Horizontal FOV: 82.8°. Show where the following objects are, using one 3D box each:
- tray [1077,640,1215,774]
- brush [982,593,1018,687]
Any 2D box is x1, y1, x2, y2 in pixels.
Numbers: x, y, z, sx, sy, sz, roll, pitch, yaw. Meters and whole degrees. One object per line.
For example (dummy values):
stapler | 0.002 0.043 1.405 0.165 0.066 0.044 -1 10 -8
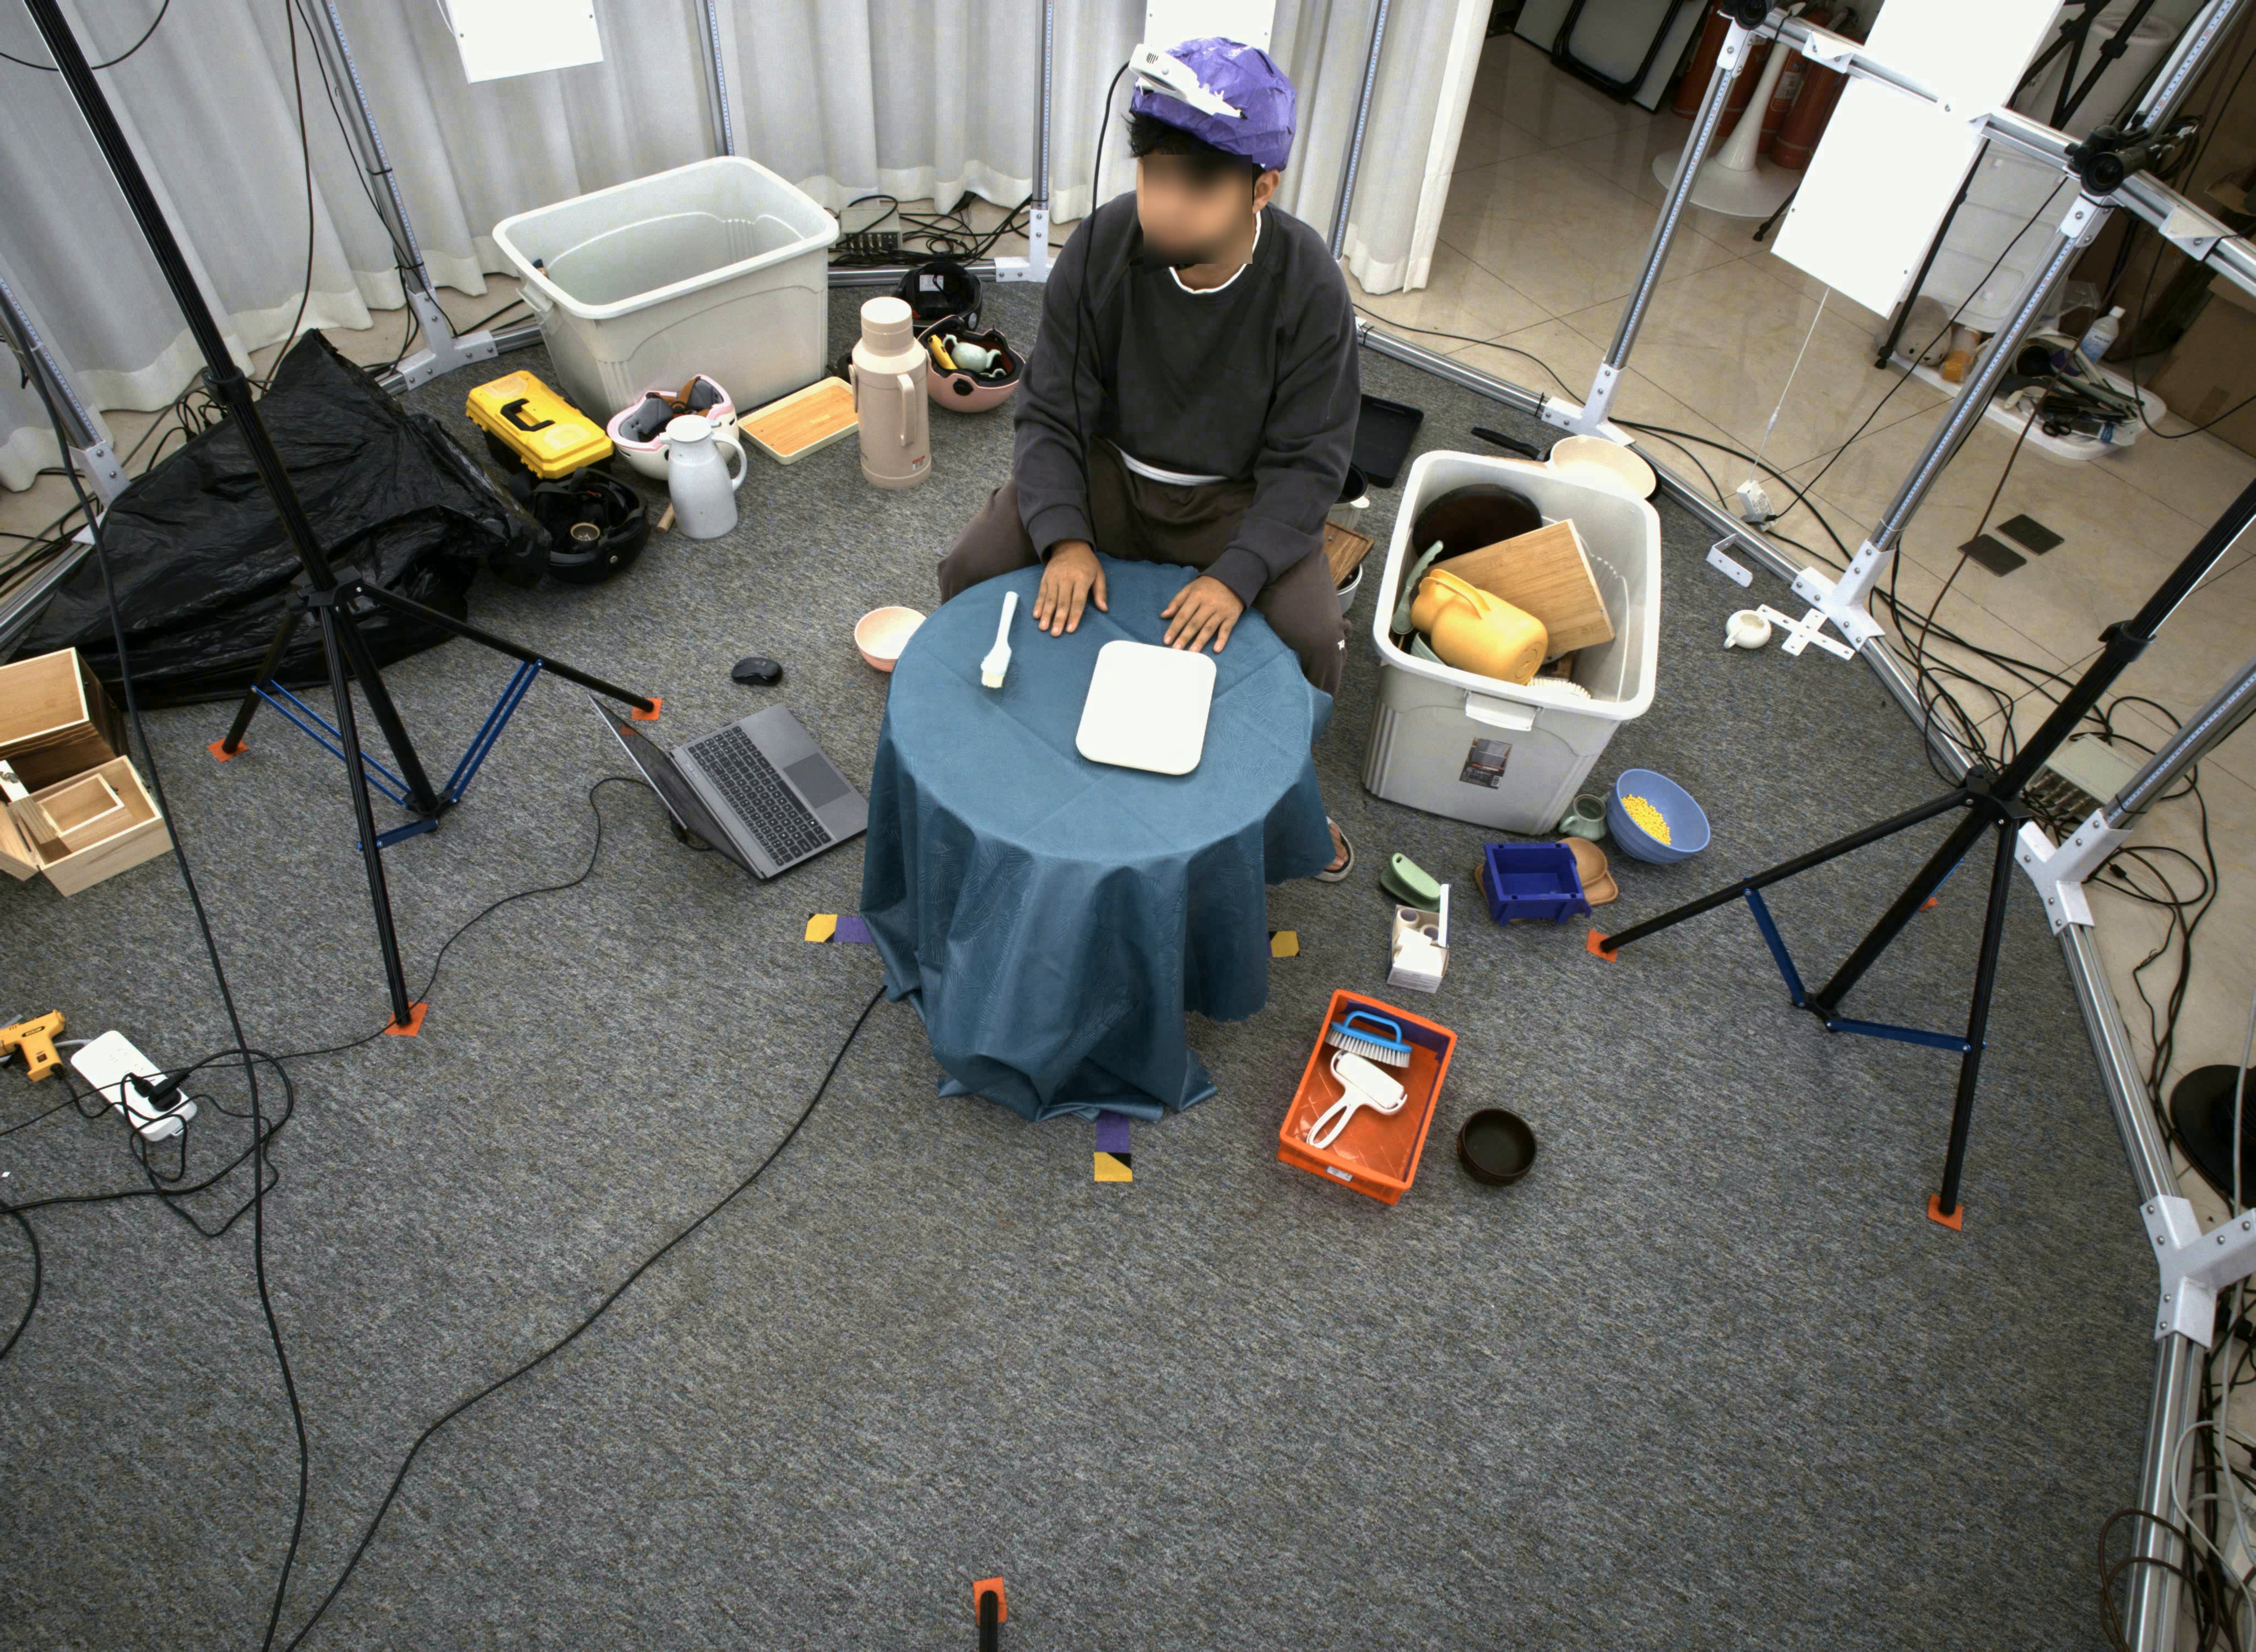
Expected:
tray | 0.028 -0.168 1.801 0.171 0.017 0.245 10 49 3
brush | -0.182 -0.274 1.869 0.038 0.048 0.234 9 40 -5
